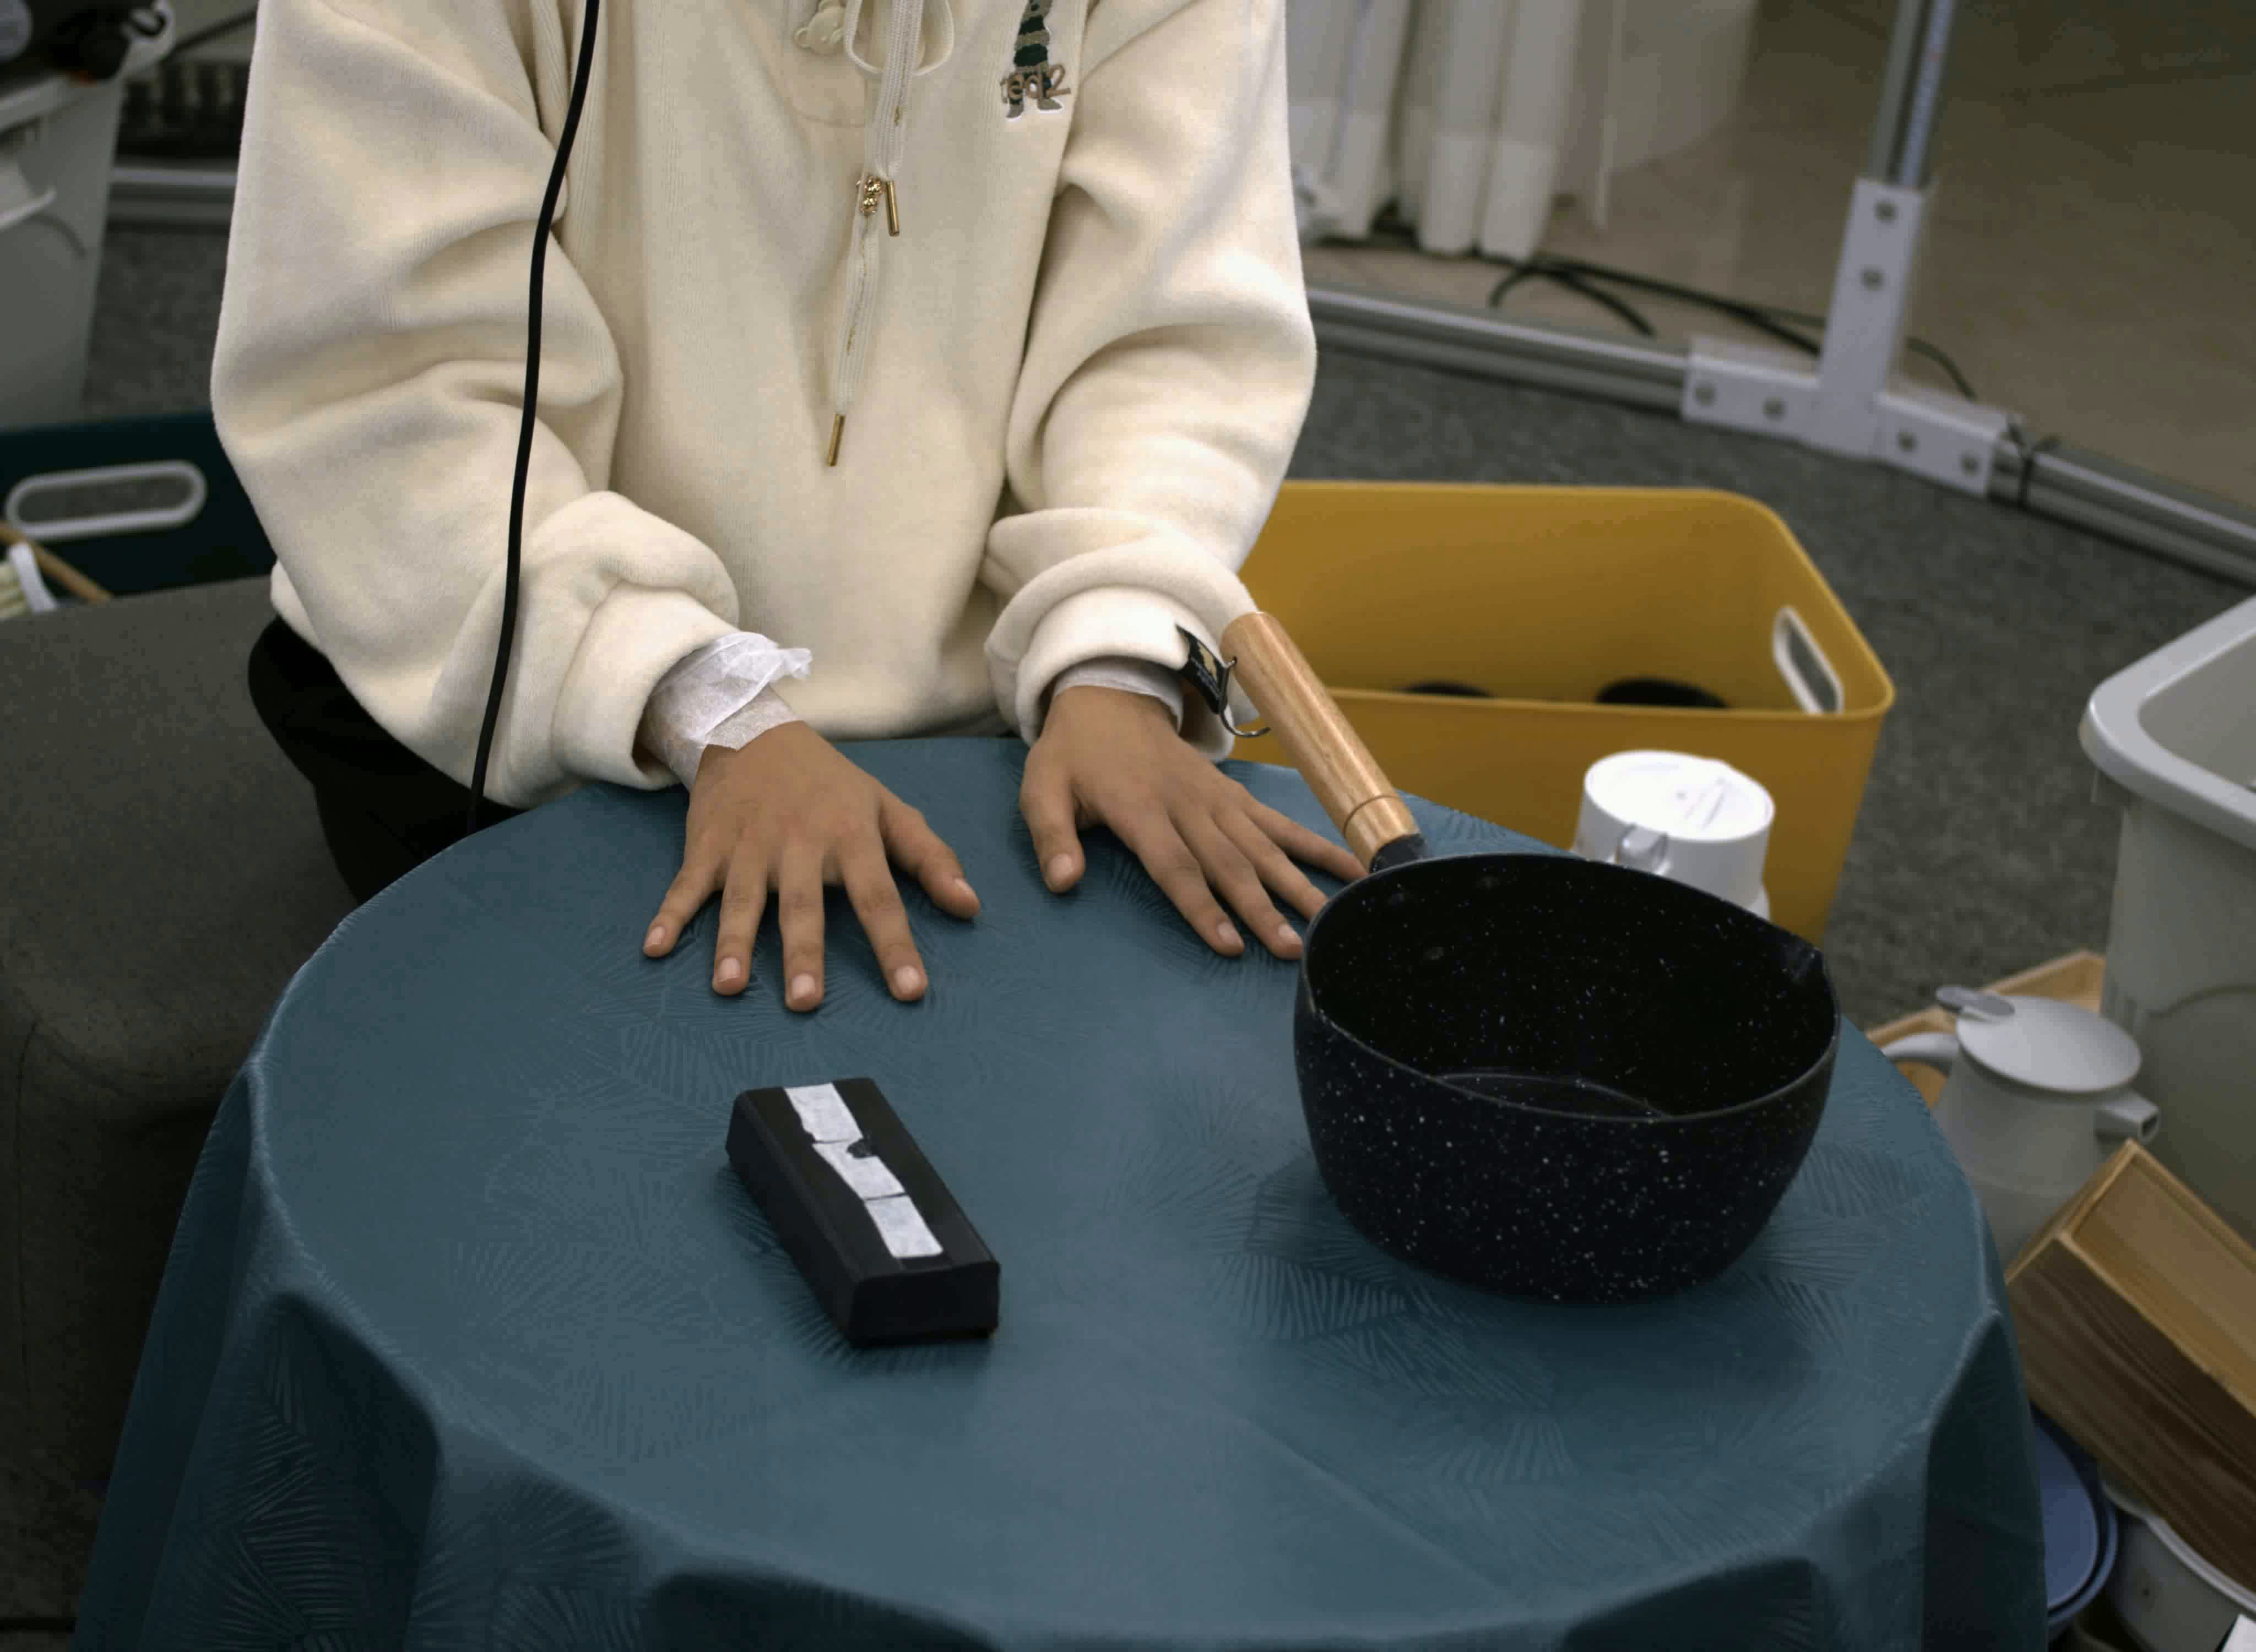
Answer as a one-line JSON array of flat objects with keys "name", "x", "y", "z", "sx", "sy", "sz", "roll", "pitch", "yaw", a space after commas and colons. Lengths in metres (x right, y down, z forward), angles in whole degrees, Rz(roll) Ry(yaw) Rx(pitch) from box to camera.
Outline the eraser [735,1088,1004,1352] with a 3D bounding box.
[{"name": "eraser", "x": -0.086, "y": 0.128, "z": 1.745, "sx": 0.053, "sy": 0.030, "sz": 0.126, "roll": -4, "pitch": 27, "yaw": -21}]

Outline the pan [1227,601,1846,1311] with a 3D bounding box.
[{"name": "pan", "x": 0.111, "y": 0.042, "z": 1.867, "sx": 0.206, "sy": 0.108, "sz": 0.346, "roll": -9, "pitch": 32, "yaw": -25}]
